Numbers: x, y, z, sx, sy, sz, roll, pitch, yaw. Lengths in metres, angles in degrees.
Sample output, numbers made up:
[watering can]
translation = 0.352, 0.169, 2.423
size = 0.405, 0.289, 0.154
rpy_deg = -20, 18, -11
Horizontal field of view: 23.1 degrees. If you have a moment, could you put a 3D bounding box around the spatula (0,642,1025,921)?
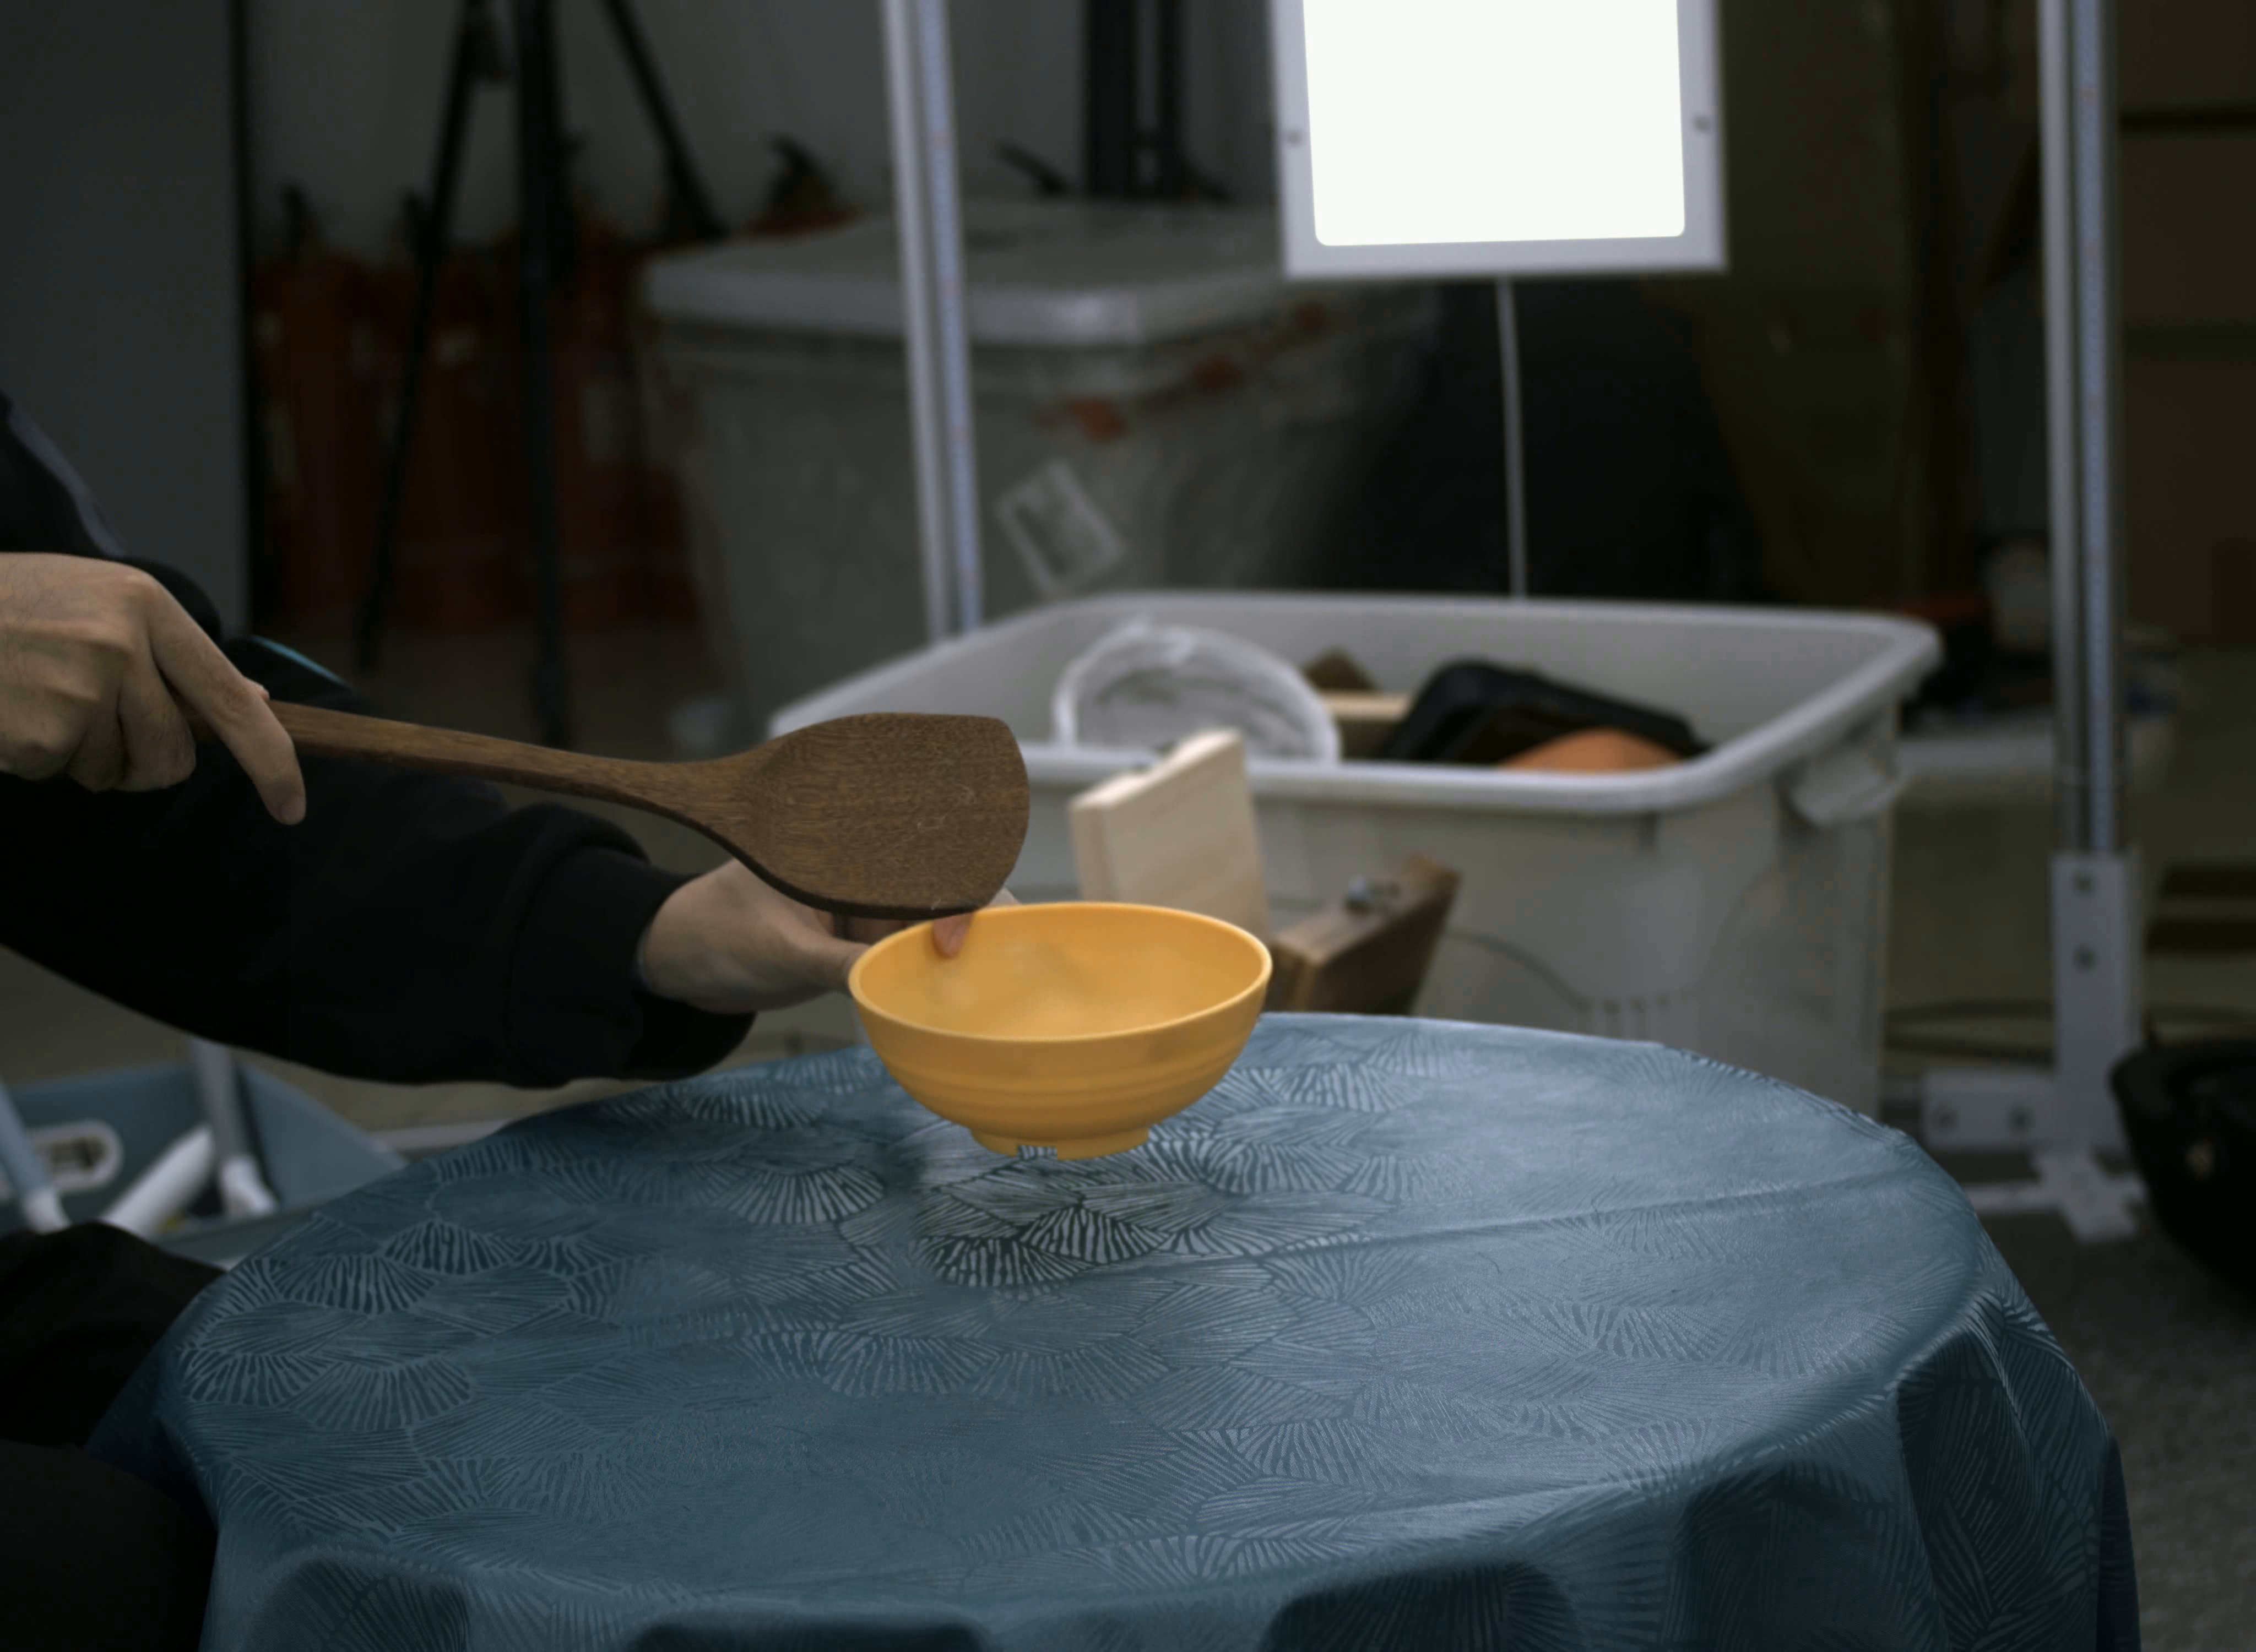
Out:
[spatula]
translation = -0.224, -0.025, 1.795
size = 0.385, 0.016, 0.095
rpy_deg = 8, 45, 1

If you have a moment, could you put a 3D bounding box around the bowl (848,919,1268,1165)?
[bowl]
translation = -0.023, 0.078, 1.877
size = 0.145, 0.060, 0.145
rpy_deg = -3, 14, -1
